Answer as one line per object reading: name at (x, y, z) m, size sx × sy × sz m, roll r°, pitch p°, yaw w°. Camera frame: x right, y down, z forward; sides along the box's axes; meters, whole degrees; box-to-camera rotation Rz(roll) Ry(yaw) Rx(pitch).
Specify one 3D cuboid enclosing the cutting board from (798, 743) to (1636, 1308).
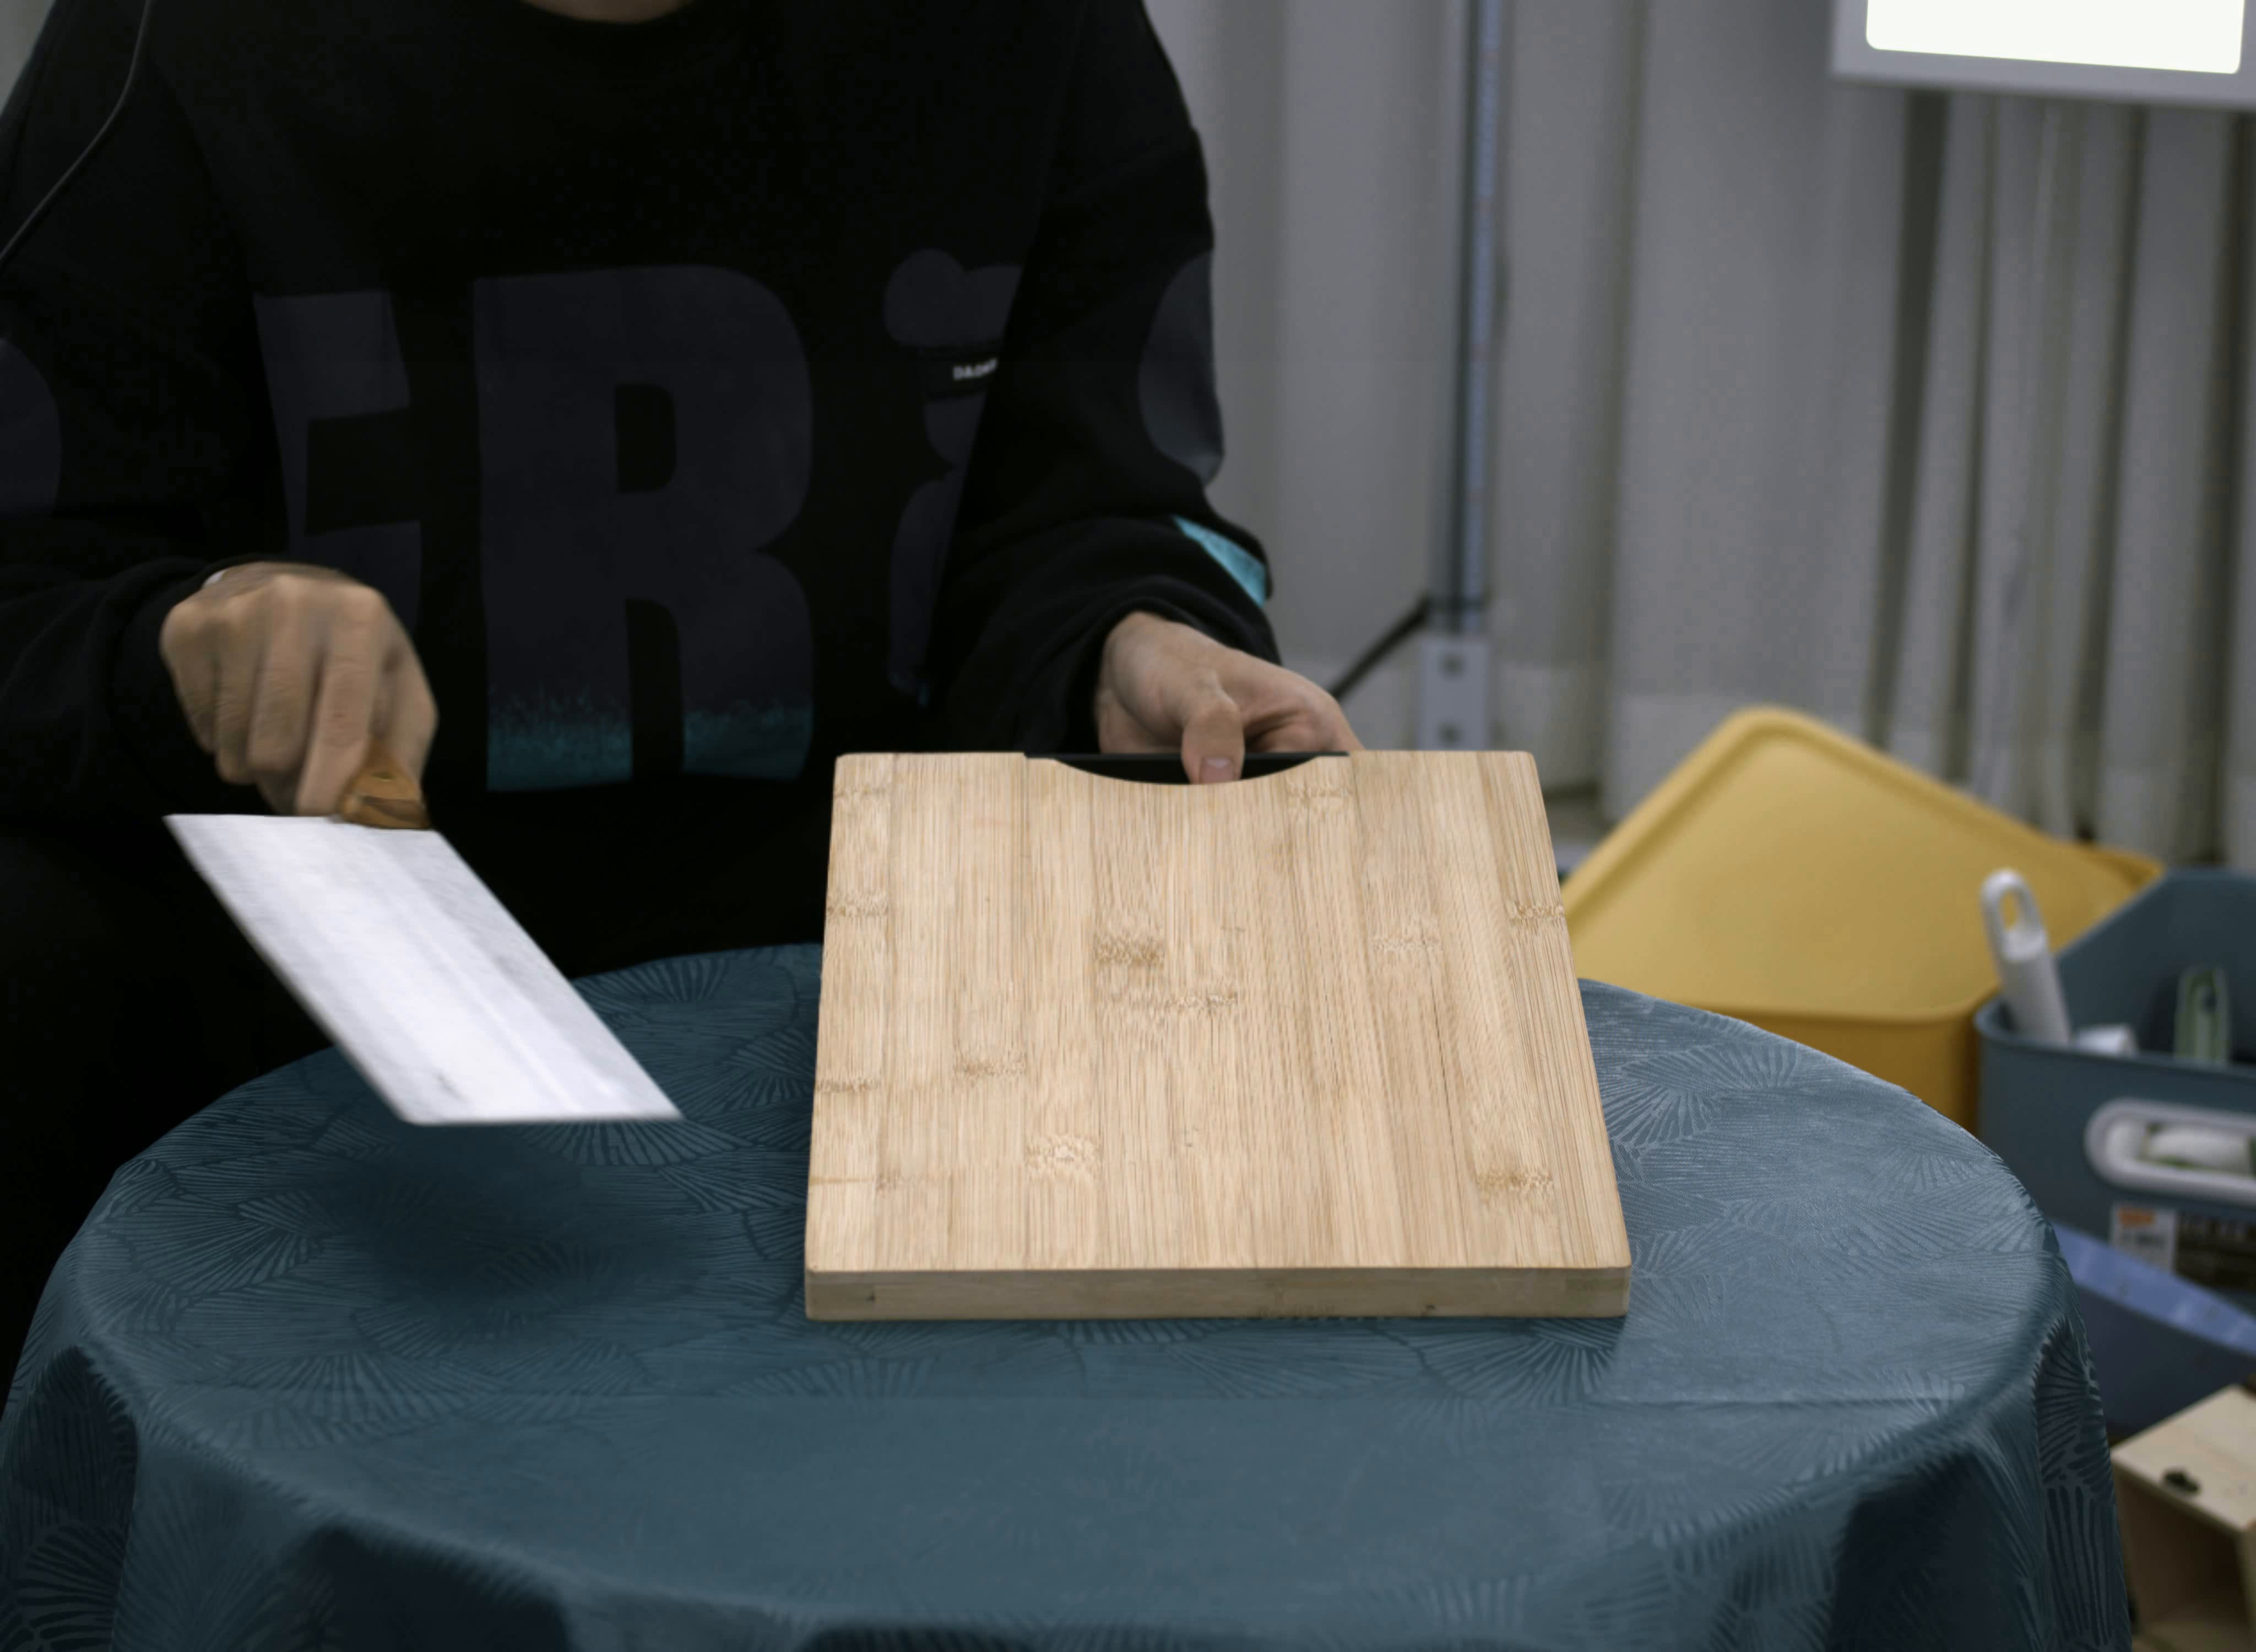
cutting board at (0.024, 0.057, 1.669) m, size 0.250 × 0.024 × 0.345 m, roll 0°, pitch 27°, yaw -3°

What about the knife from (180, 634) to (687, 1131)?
knife at (-0.238, 0.014, 1.627) m, size 0.093 × 0.021 × 0.301 m, roll 1°, pitch 28°, yaw -36°
